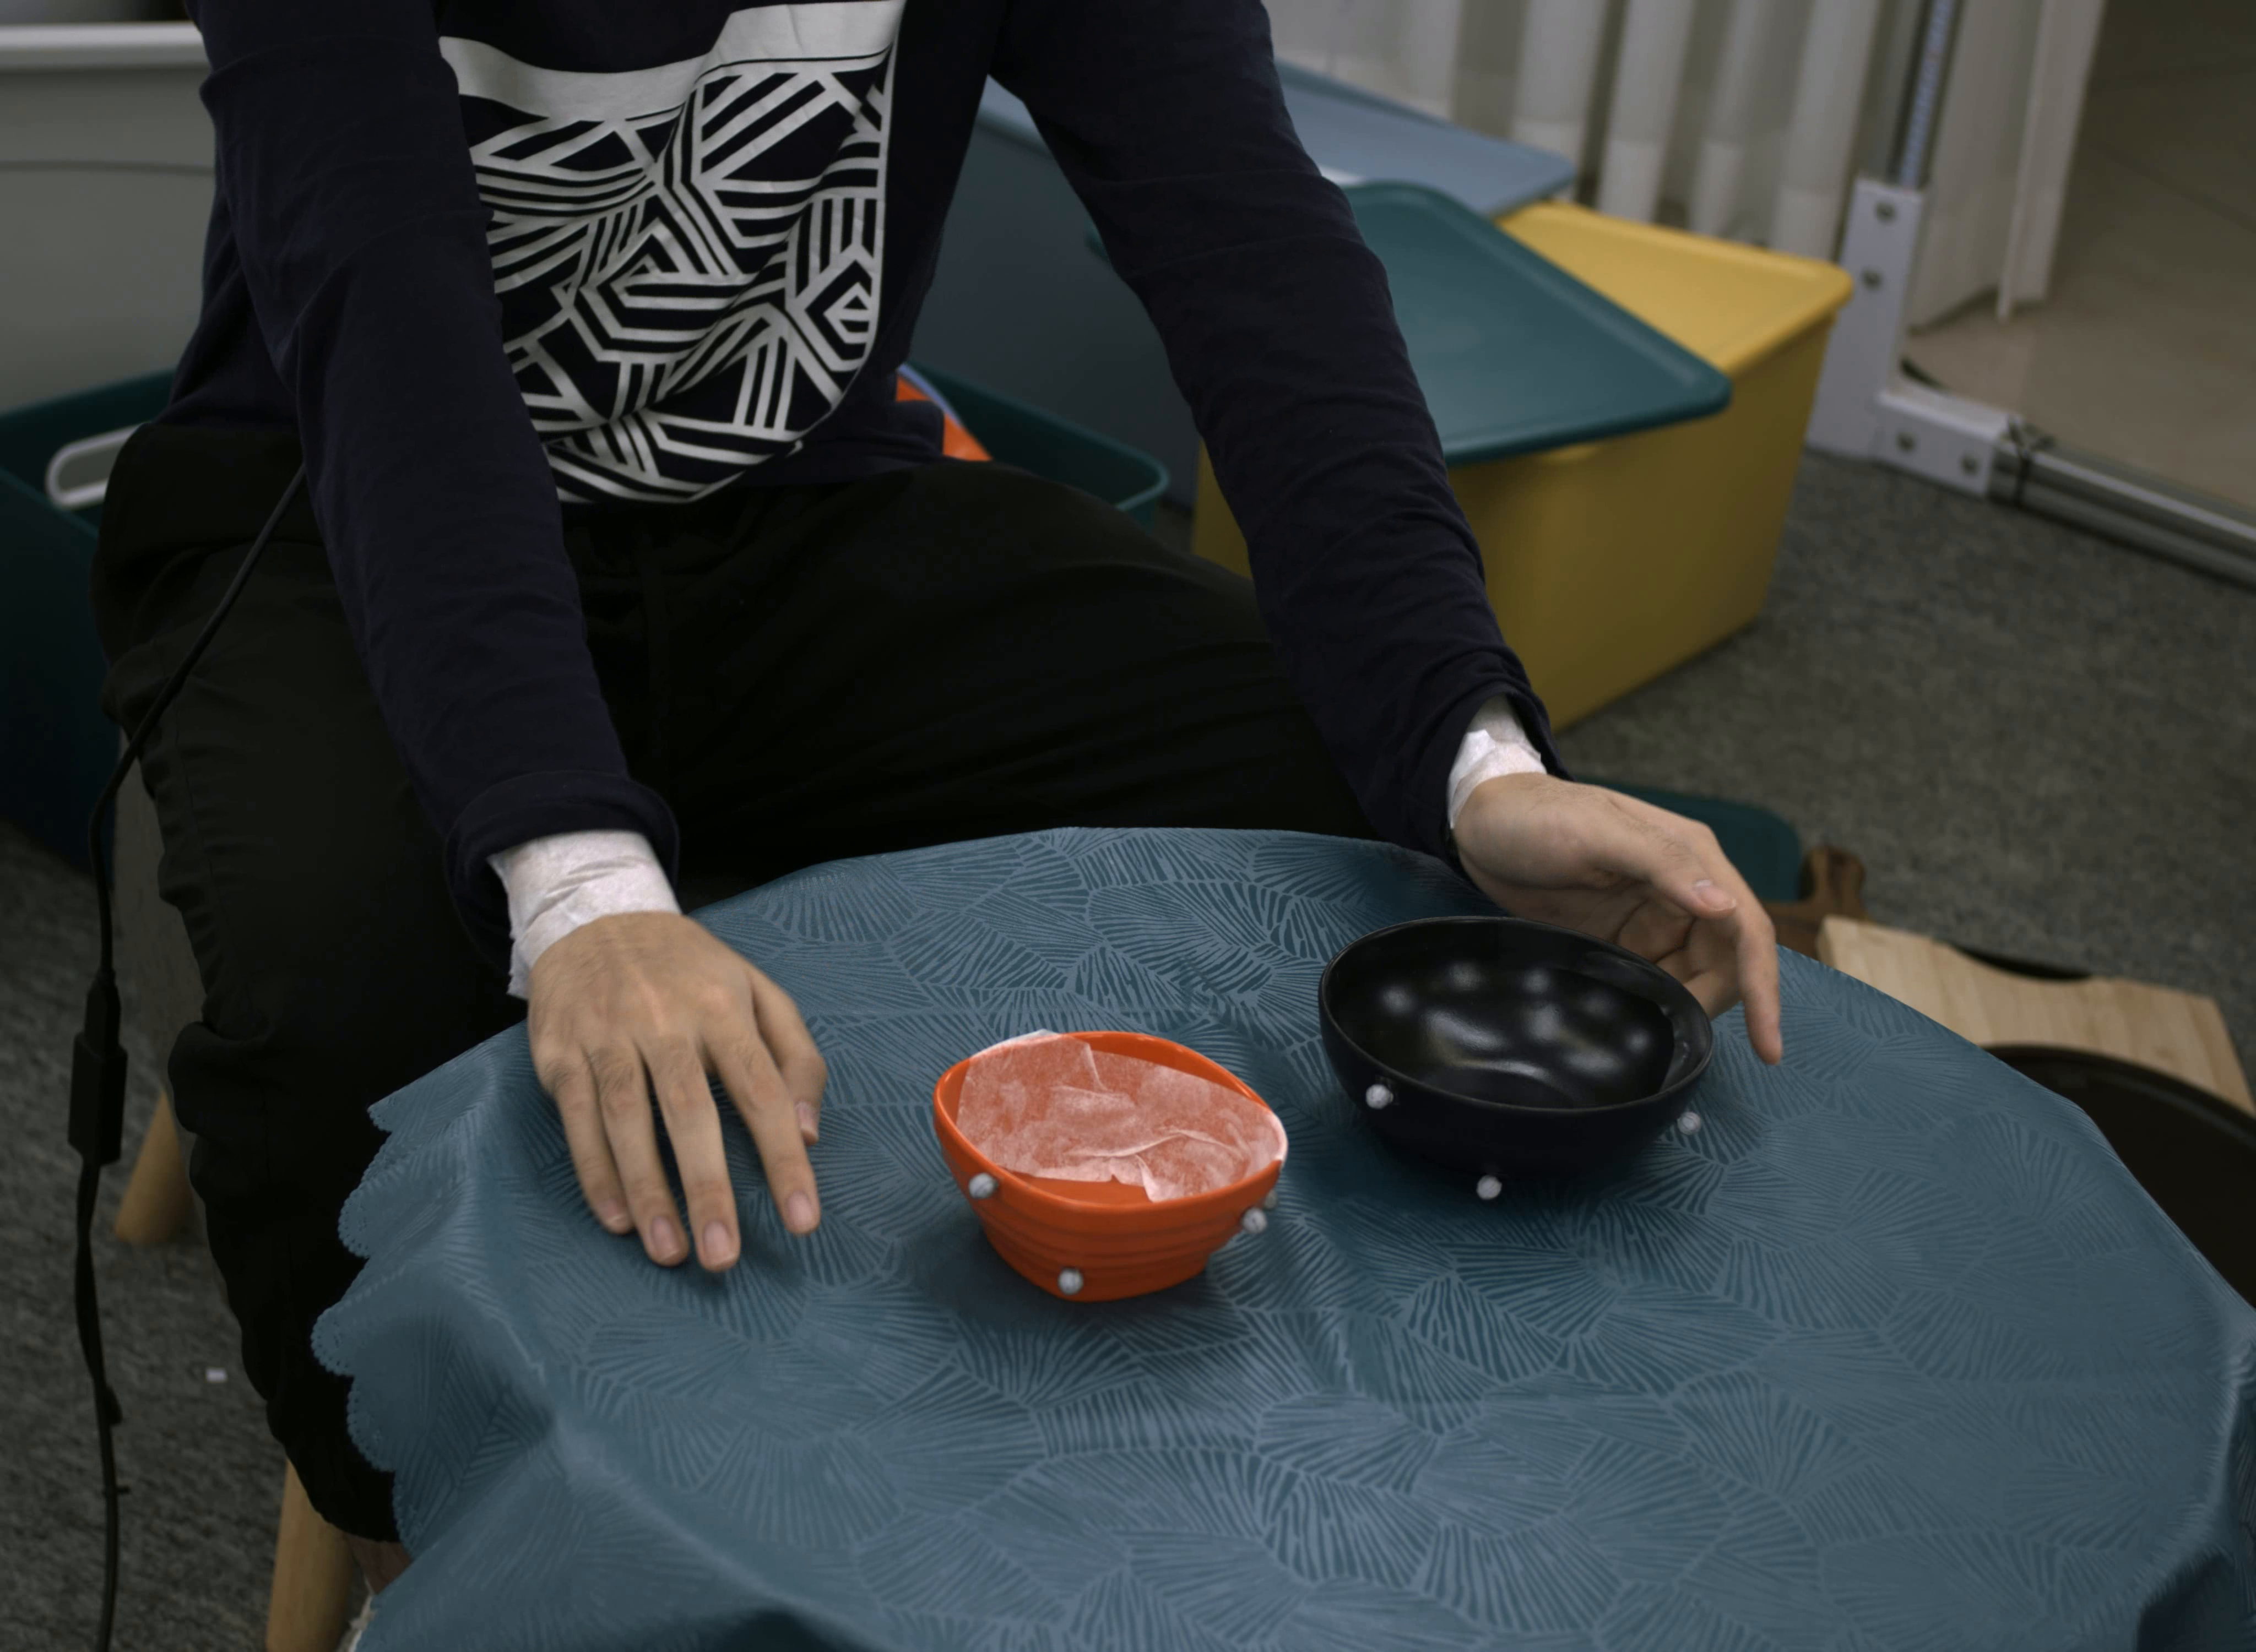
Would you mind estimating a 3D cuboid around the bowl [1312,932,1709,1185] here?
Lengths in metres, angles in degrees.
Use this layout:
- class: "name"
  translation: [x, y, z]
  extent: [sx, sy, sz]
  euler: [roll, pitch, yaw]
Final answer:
- class: "bowl"
  translation: [0.131, 0.088, 1.858]
  extent: [0.139, 0.049, 0.141]
  euler: [4, 23, -2]

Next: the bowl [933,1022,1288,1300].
- class: "bowl"
  translation: [-0.009, 0.115, 1.761]
  extent: [0.118, 0.051, 0.119]
  euler: [5, 29, -3]
